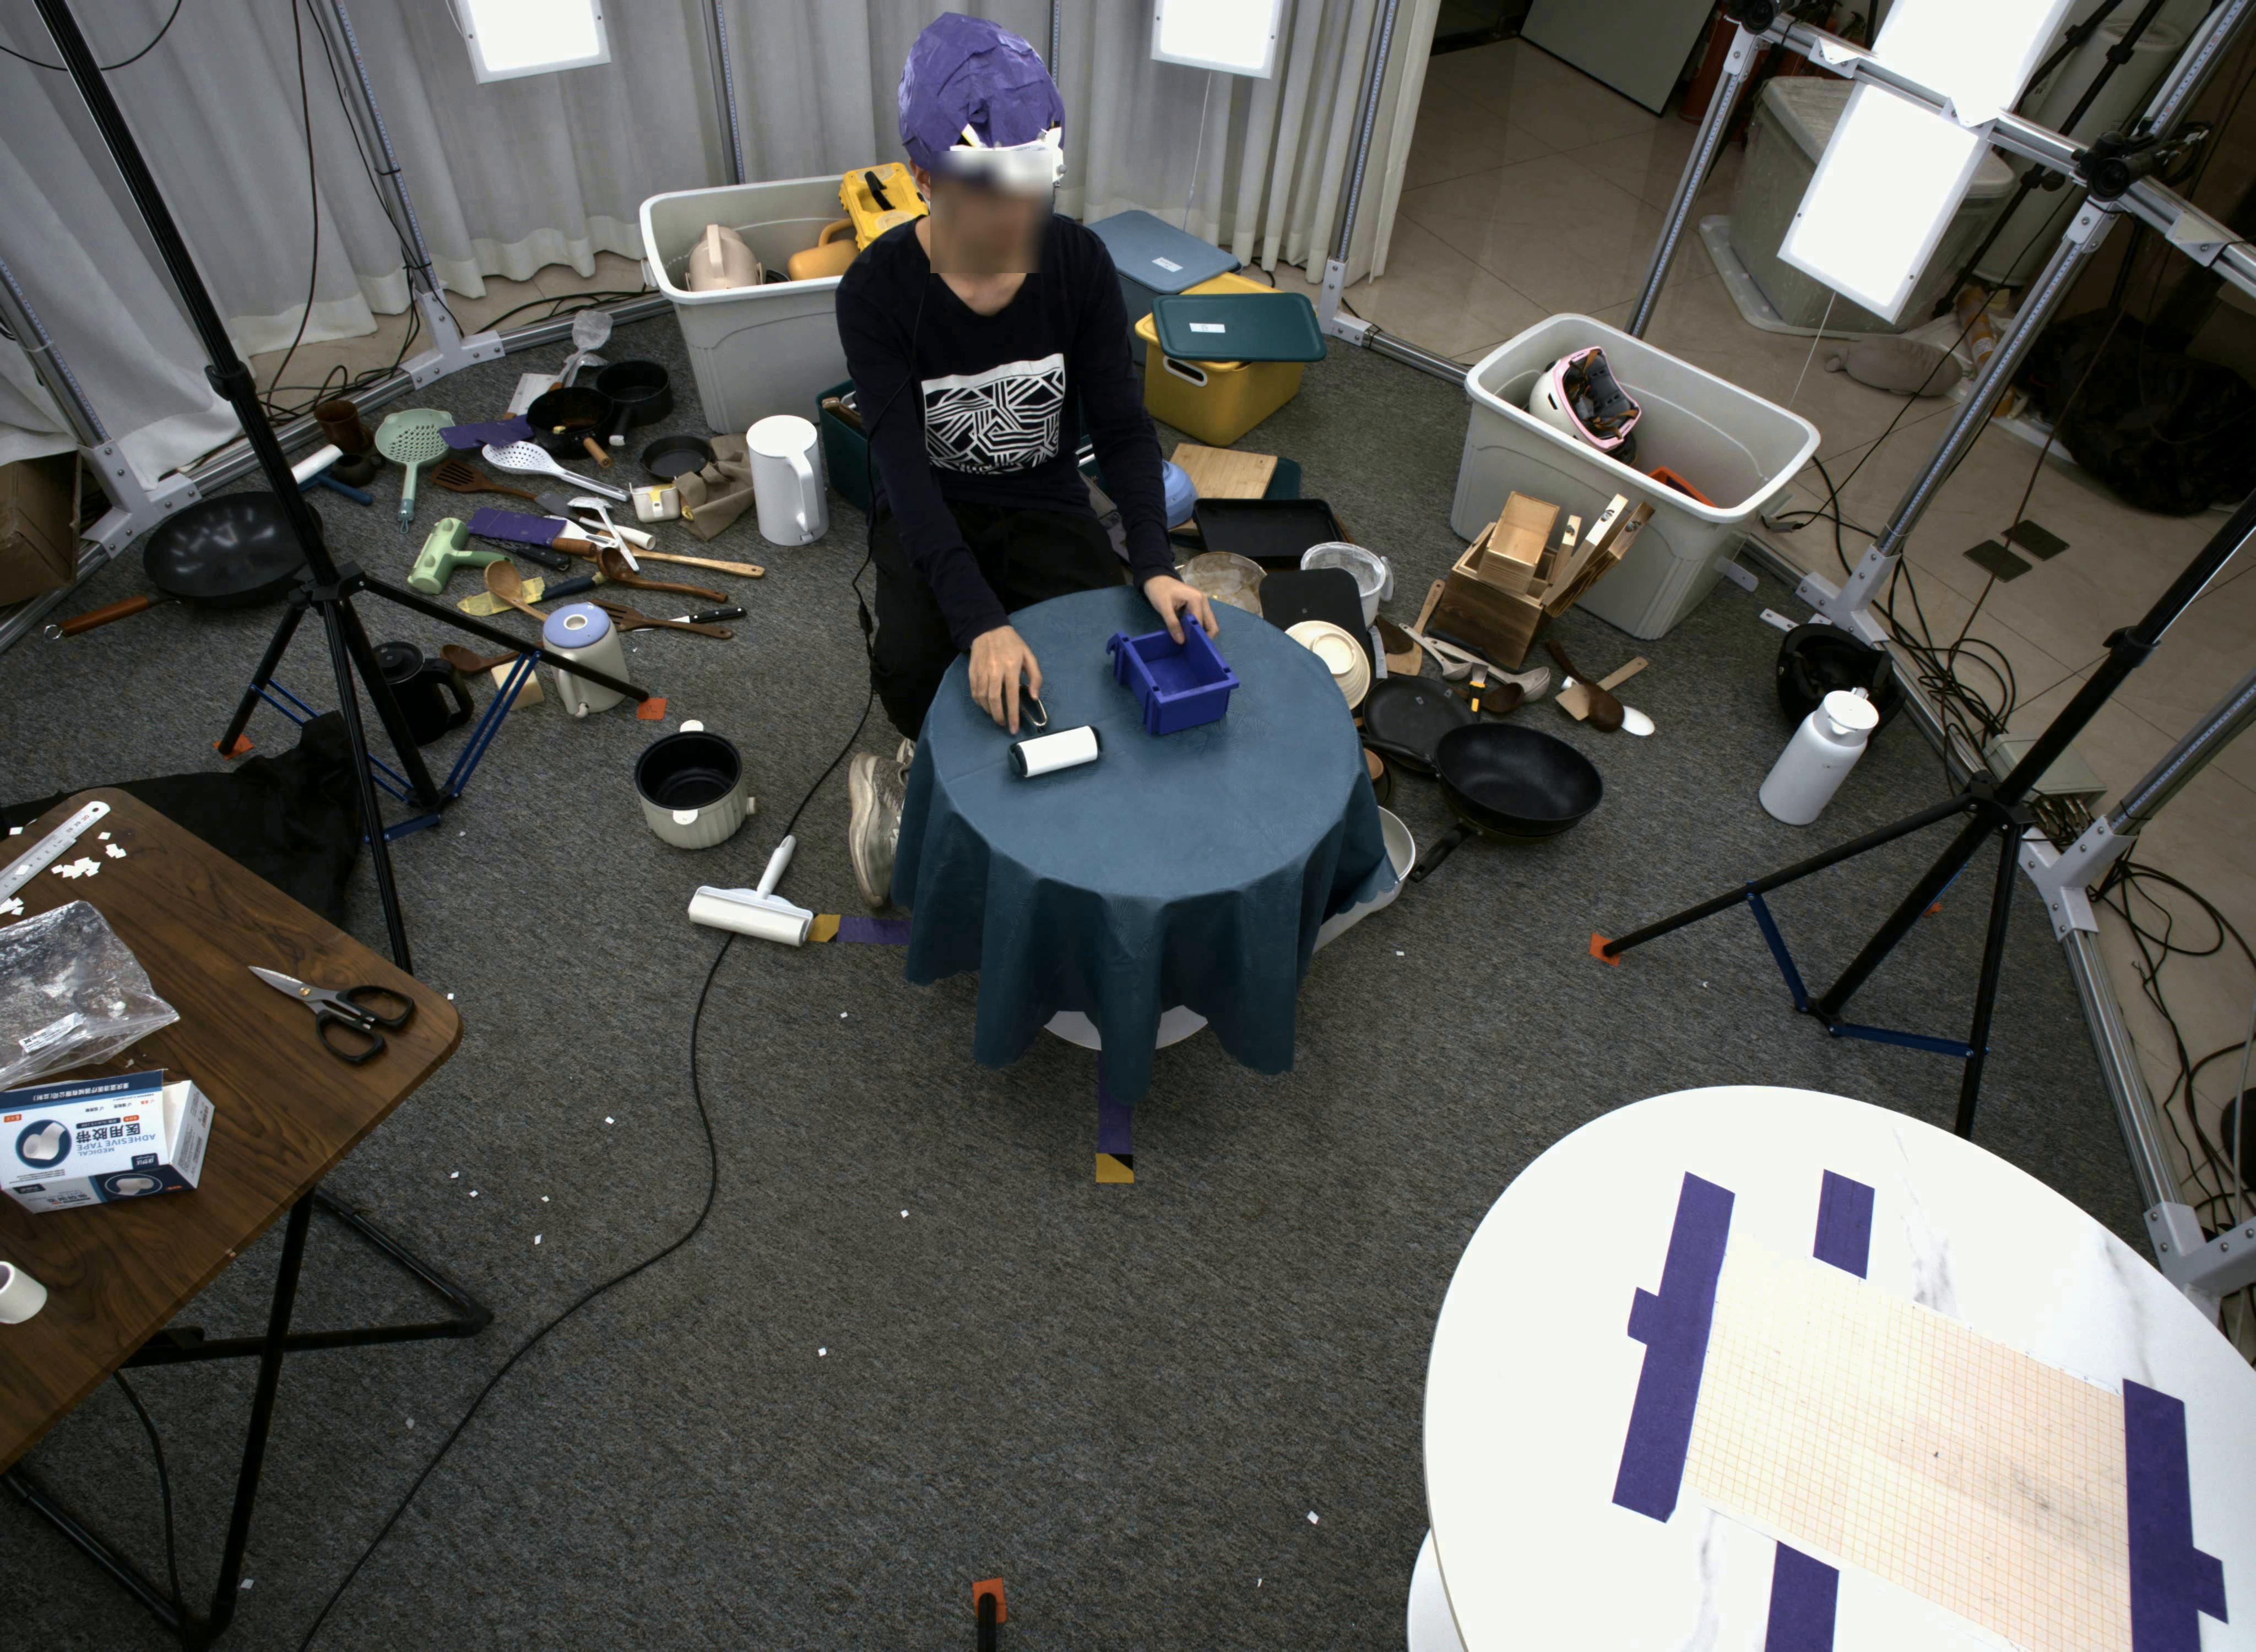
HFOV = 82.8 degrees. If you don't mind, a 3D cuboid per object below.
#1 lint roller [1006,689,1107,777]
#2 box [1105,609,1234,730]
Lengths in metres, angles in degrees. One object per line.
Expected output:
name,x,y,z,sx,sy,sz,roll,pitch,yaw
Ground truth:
lint roller,-0.123,-0.147,1.760,0.134,0.047,0.184,-15,49,-17
box,0.053,-0.226,1.815,0.124,0.080,0.183,-15,54,-15
